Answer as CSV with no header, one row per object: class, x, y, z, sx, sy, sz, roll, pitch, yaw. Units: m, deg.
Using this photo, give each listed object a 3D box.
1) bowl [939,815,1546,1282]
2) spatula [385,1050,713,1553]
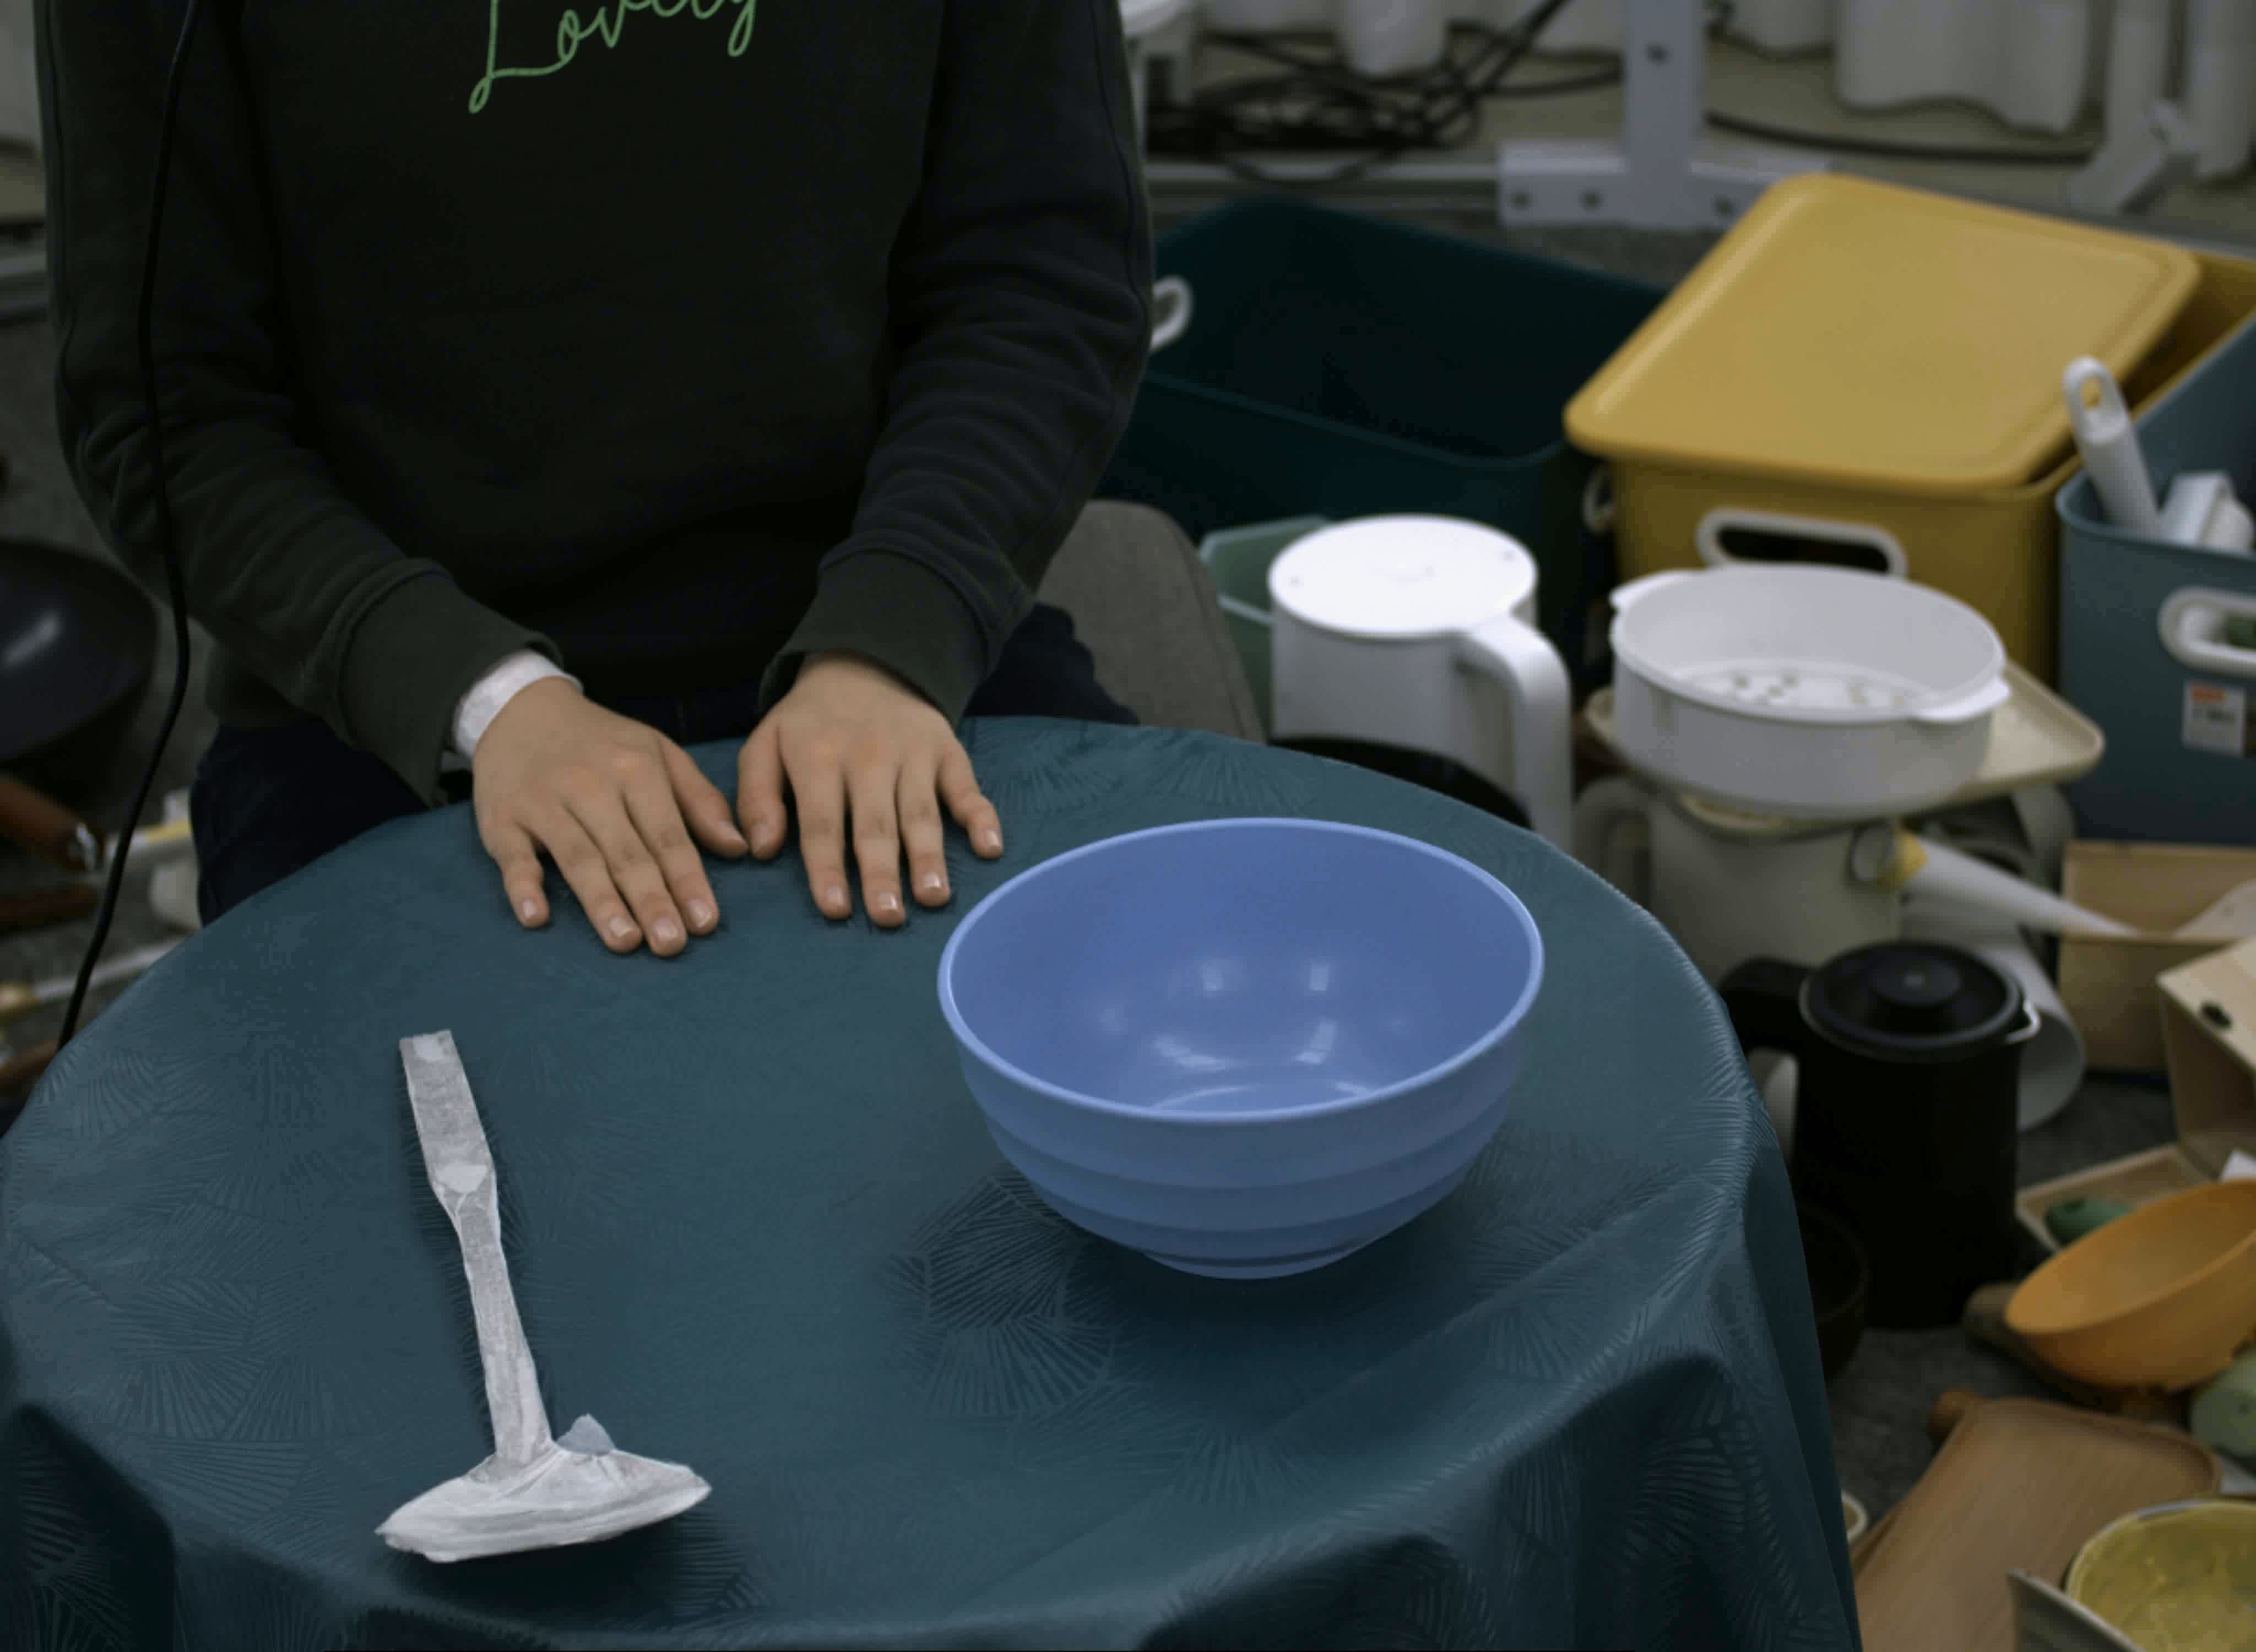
bowl,0.039,0.084,1.829,0.195,0.094,0.199,-2,28,2
spatula,-0.201,0.144,1.797,0.098,0.044,0.369,-9,28,-8
